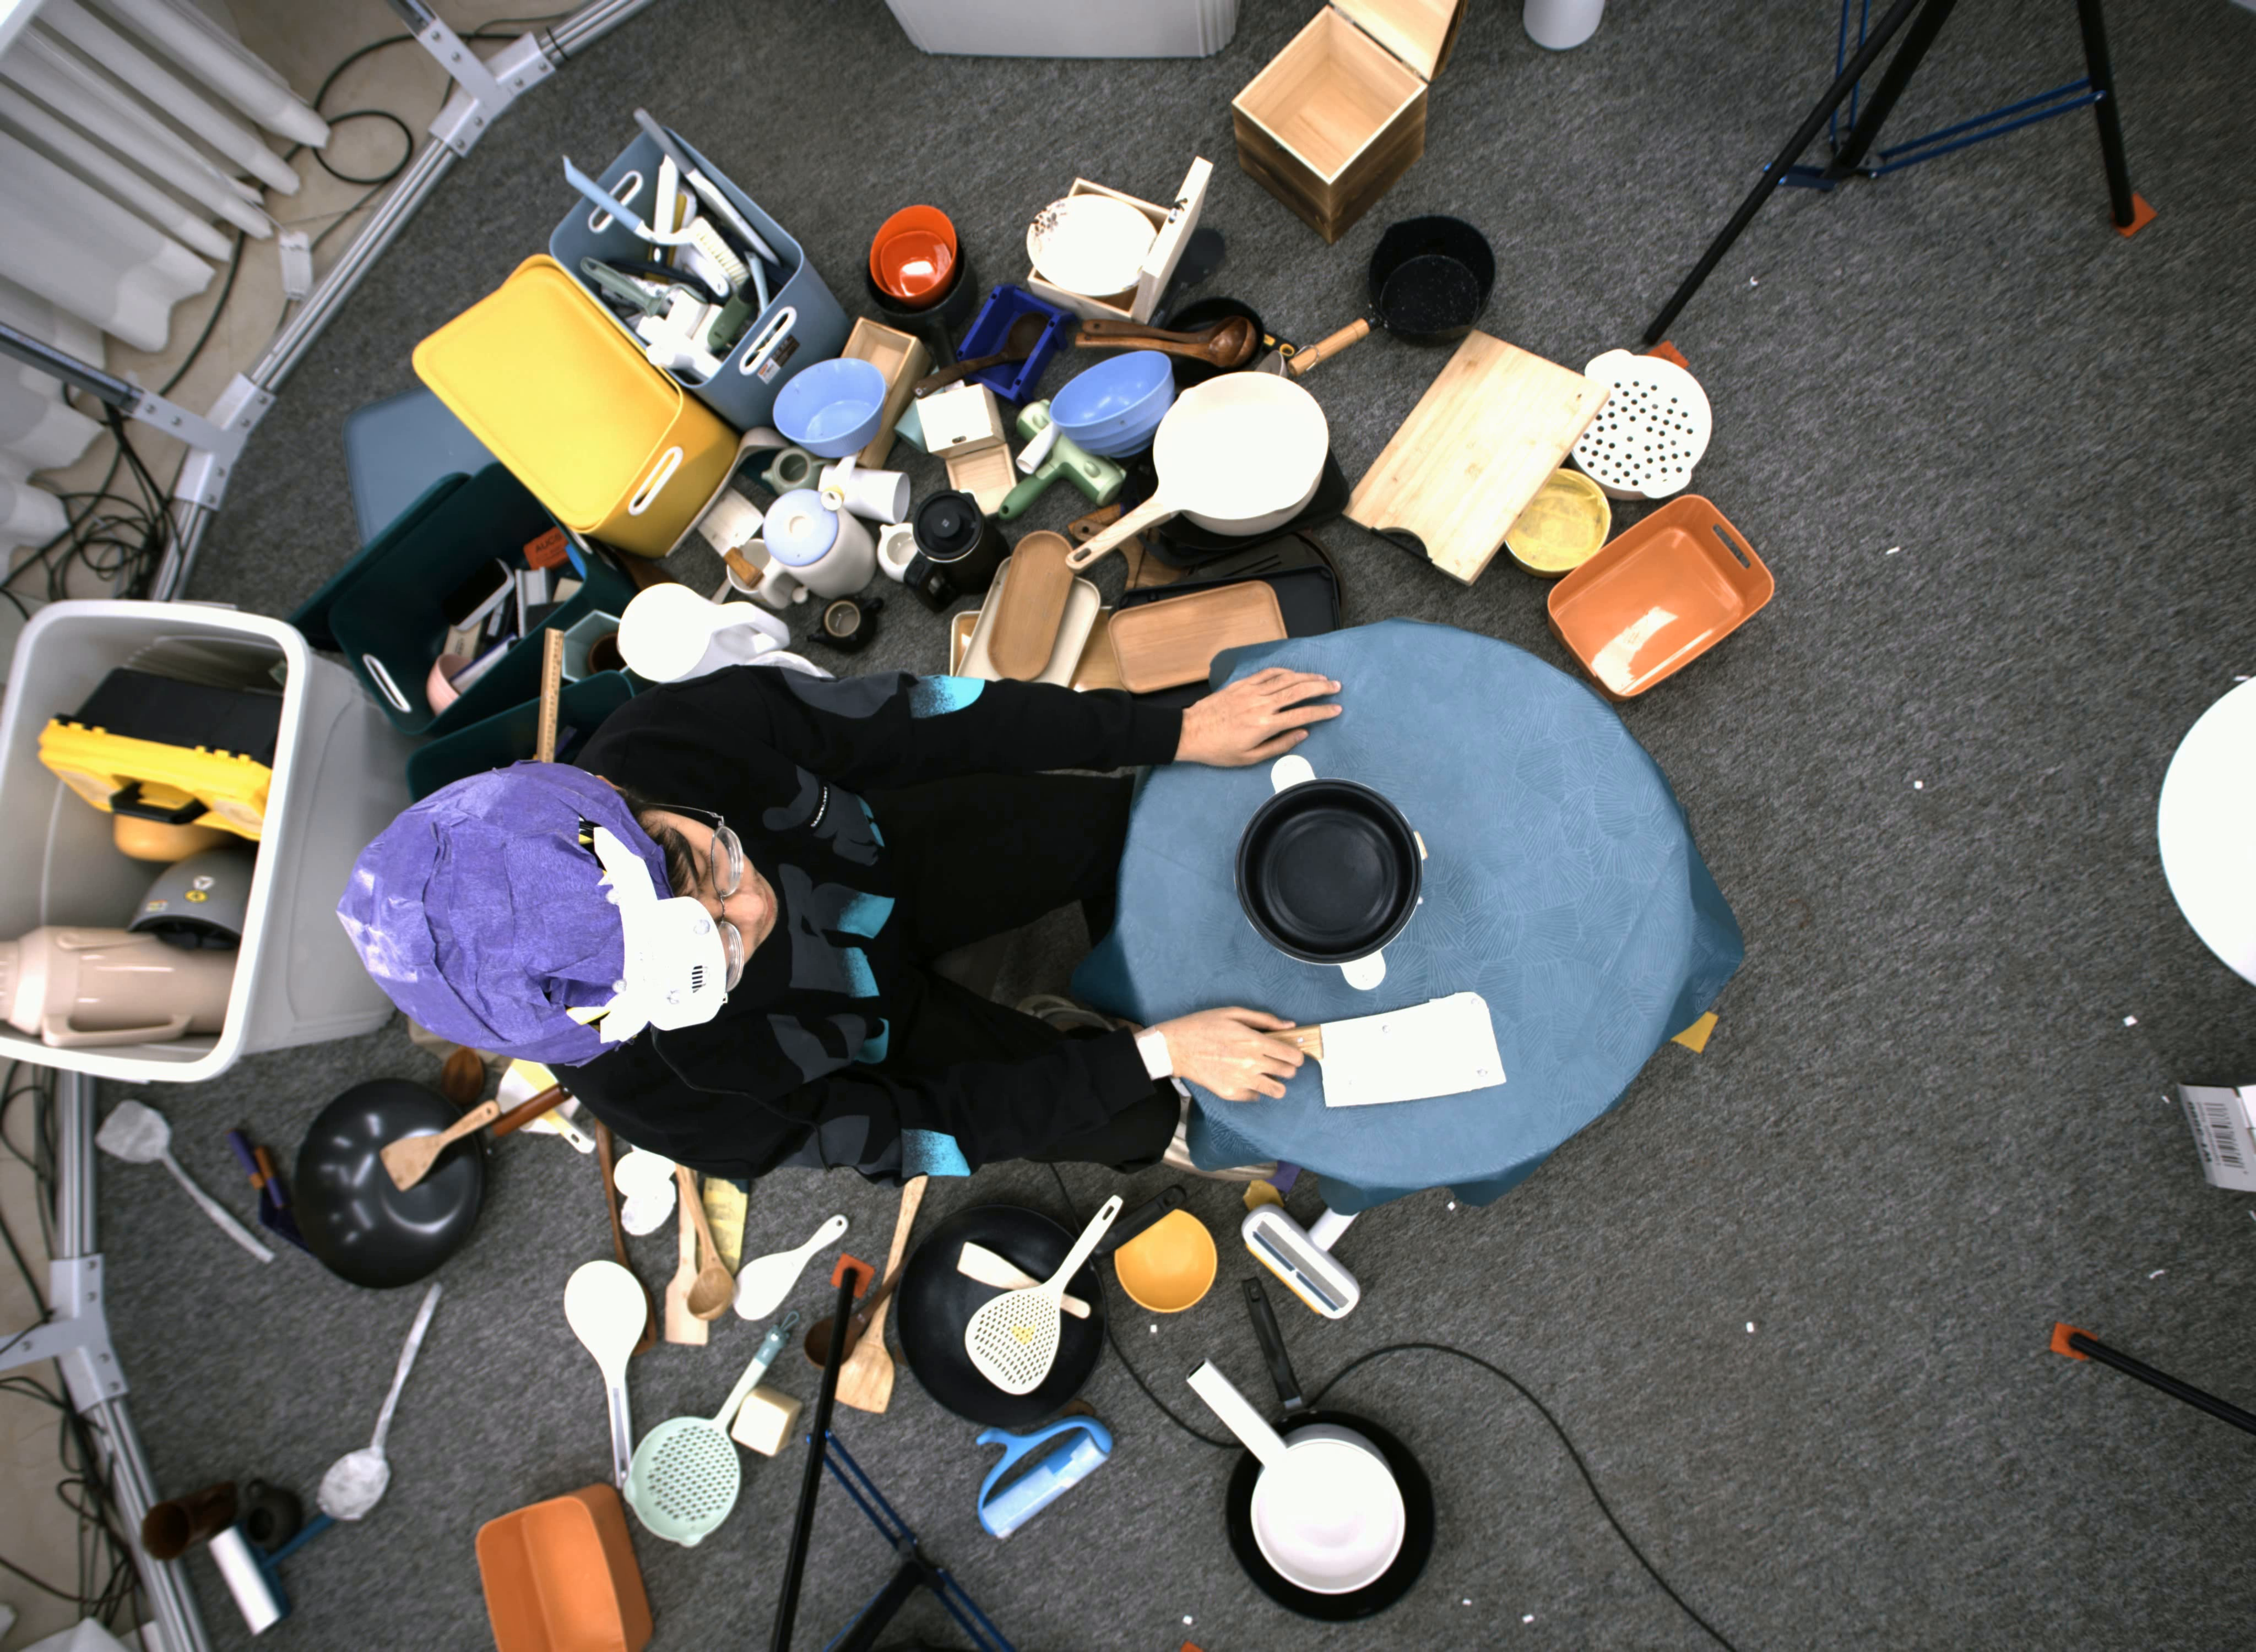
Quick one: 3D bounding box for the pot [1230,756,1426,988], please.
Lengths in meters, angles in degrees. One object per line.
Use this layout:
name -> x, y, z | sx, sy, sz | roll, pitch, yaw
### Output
pot -> 0.207, 0.046, 1.402 | 0.192, 0.142, 0.239 | -21, 84, 11

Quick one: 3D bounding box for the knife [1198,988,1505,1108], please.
knife -> 0.230, 0.234, 1.444 | 0.316, 0.022, 0.113 | -6, 86, 6
